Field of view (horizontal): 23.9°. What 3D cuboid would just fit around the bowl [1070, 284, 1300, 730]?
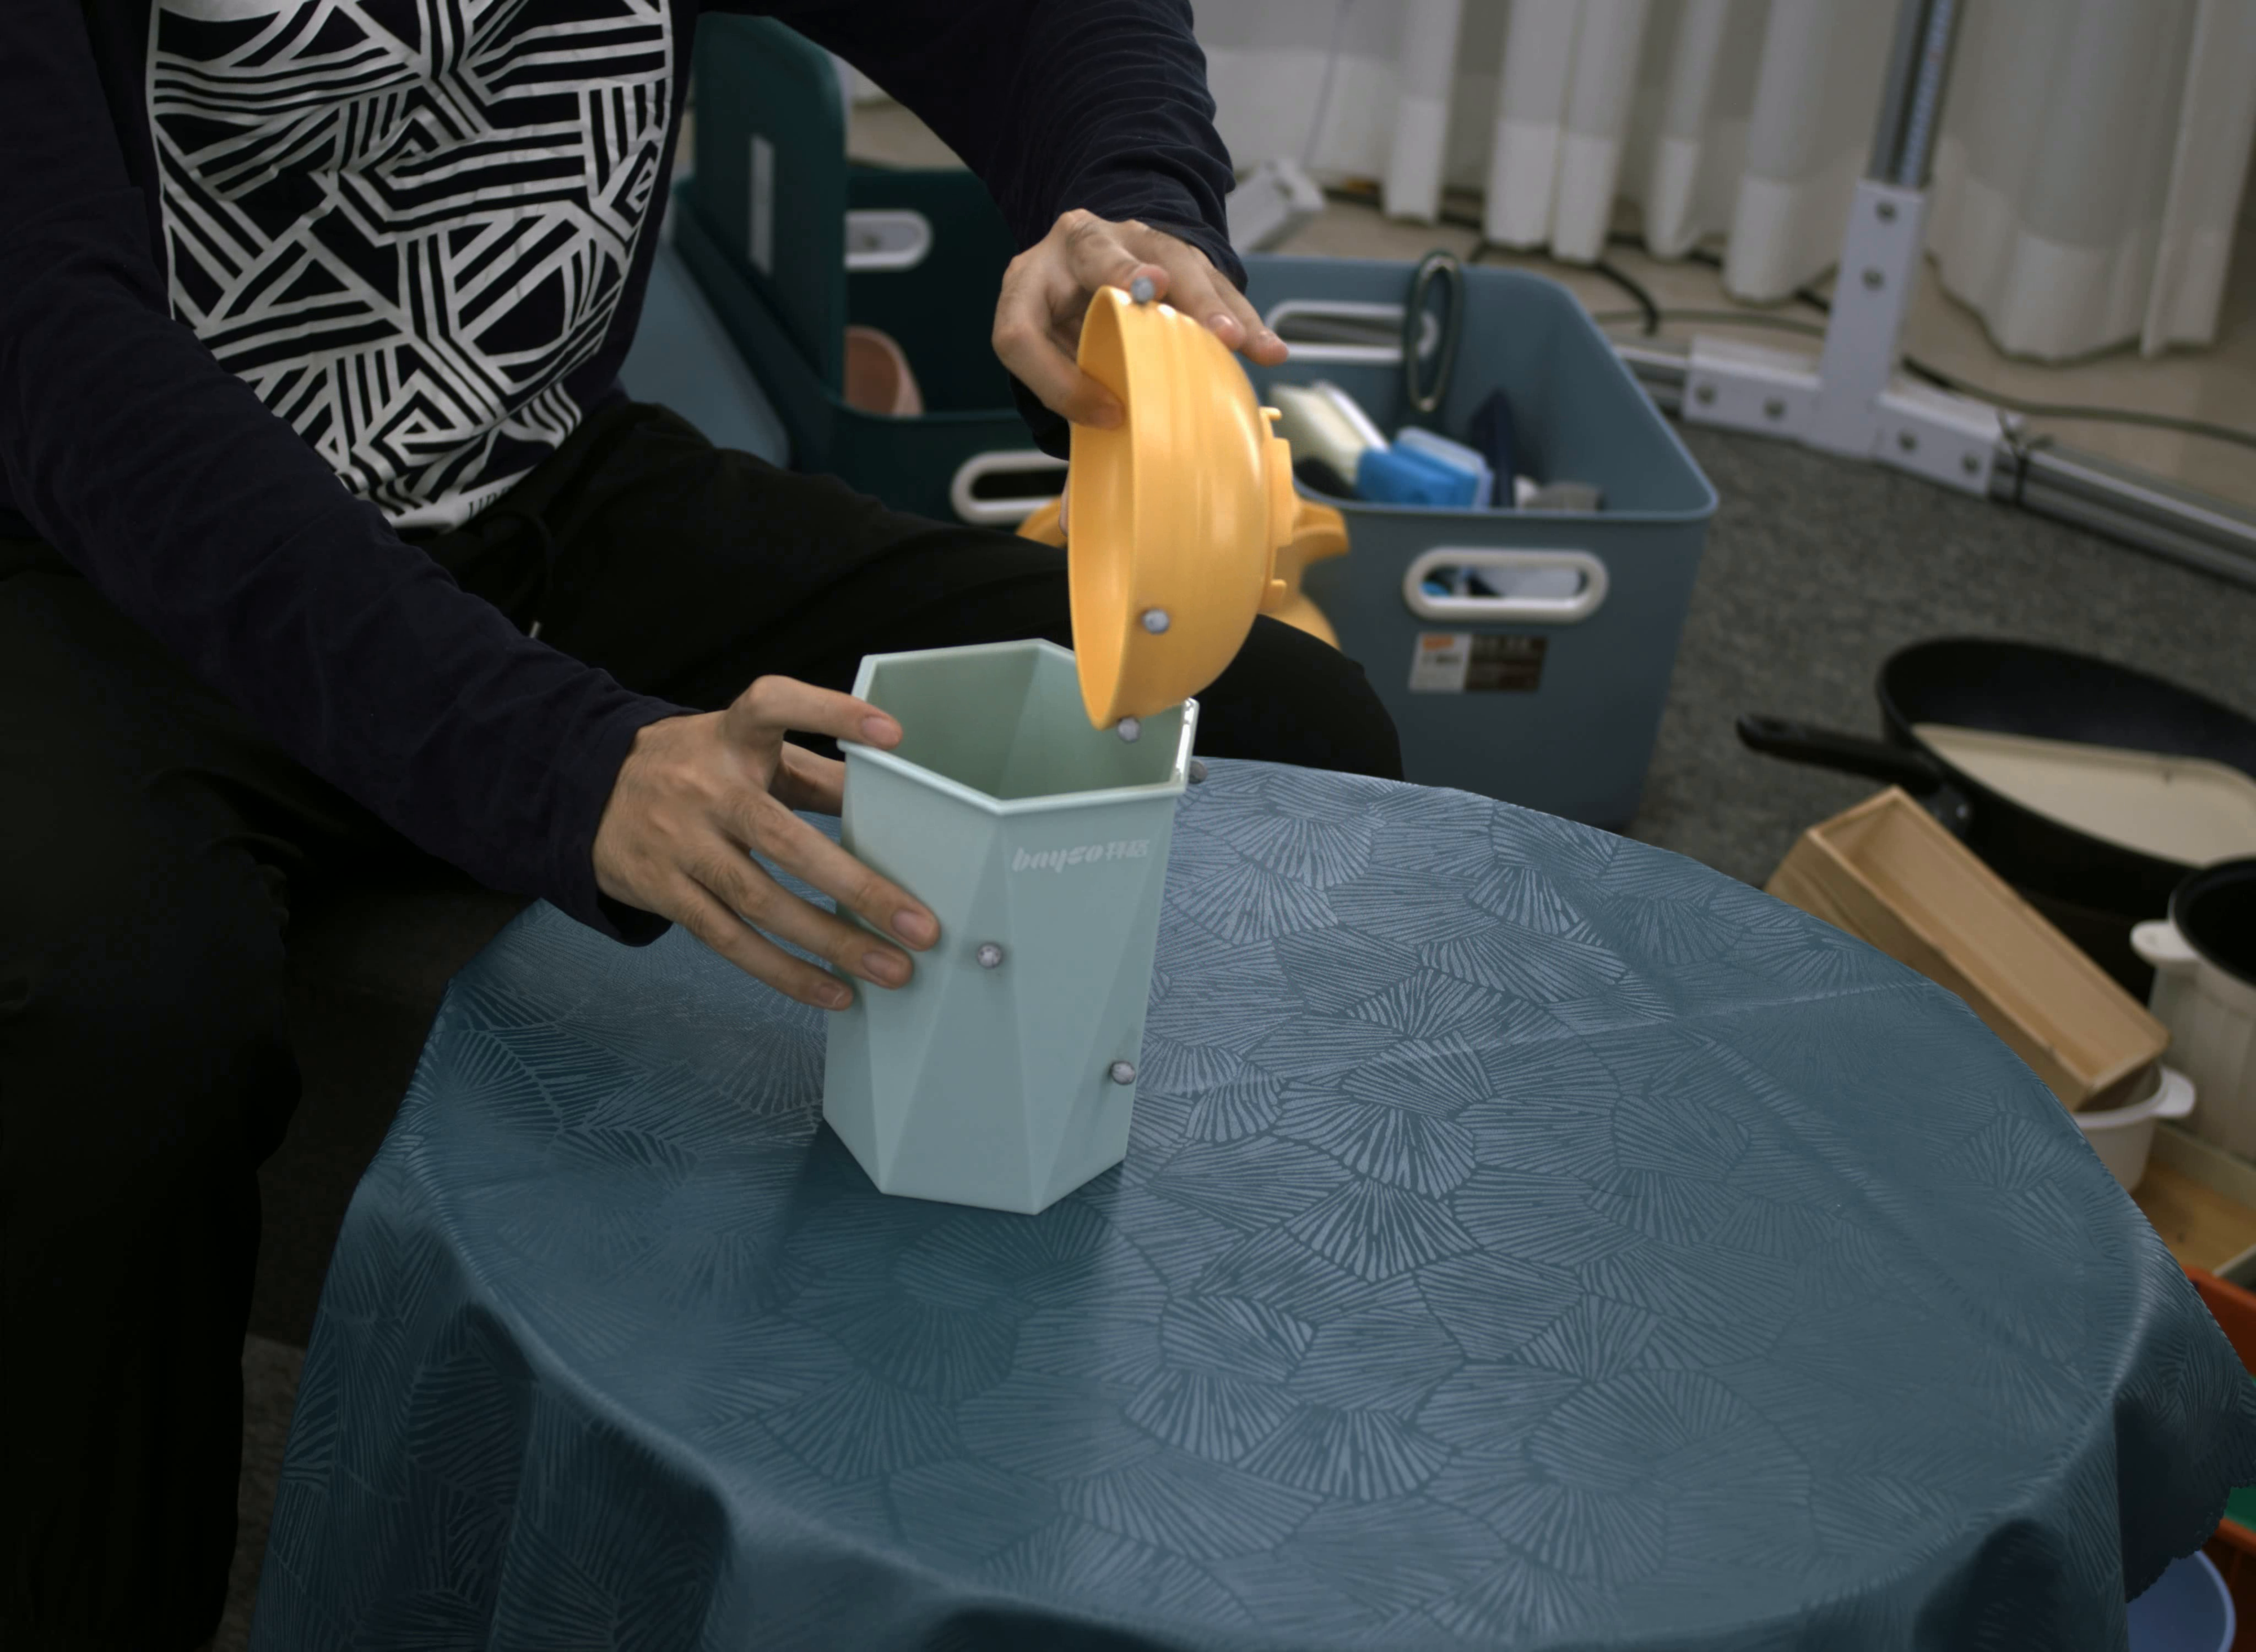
[{"bbox_3d":[0.021,-0.102,1.733,0.060,0.145,0.146,3,27,-8],"label":"bowl"}]

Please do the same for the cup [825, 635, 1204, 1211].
[{"bbox_3d":[-0.042,0.035,1.791,0.130,0.162,0.116,-6,28,-26],"label":"cup"}]
